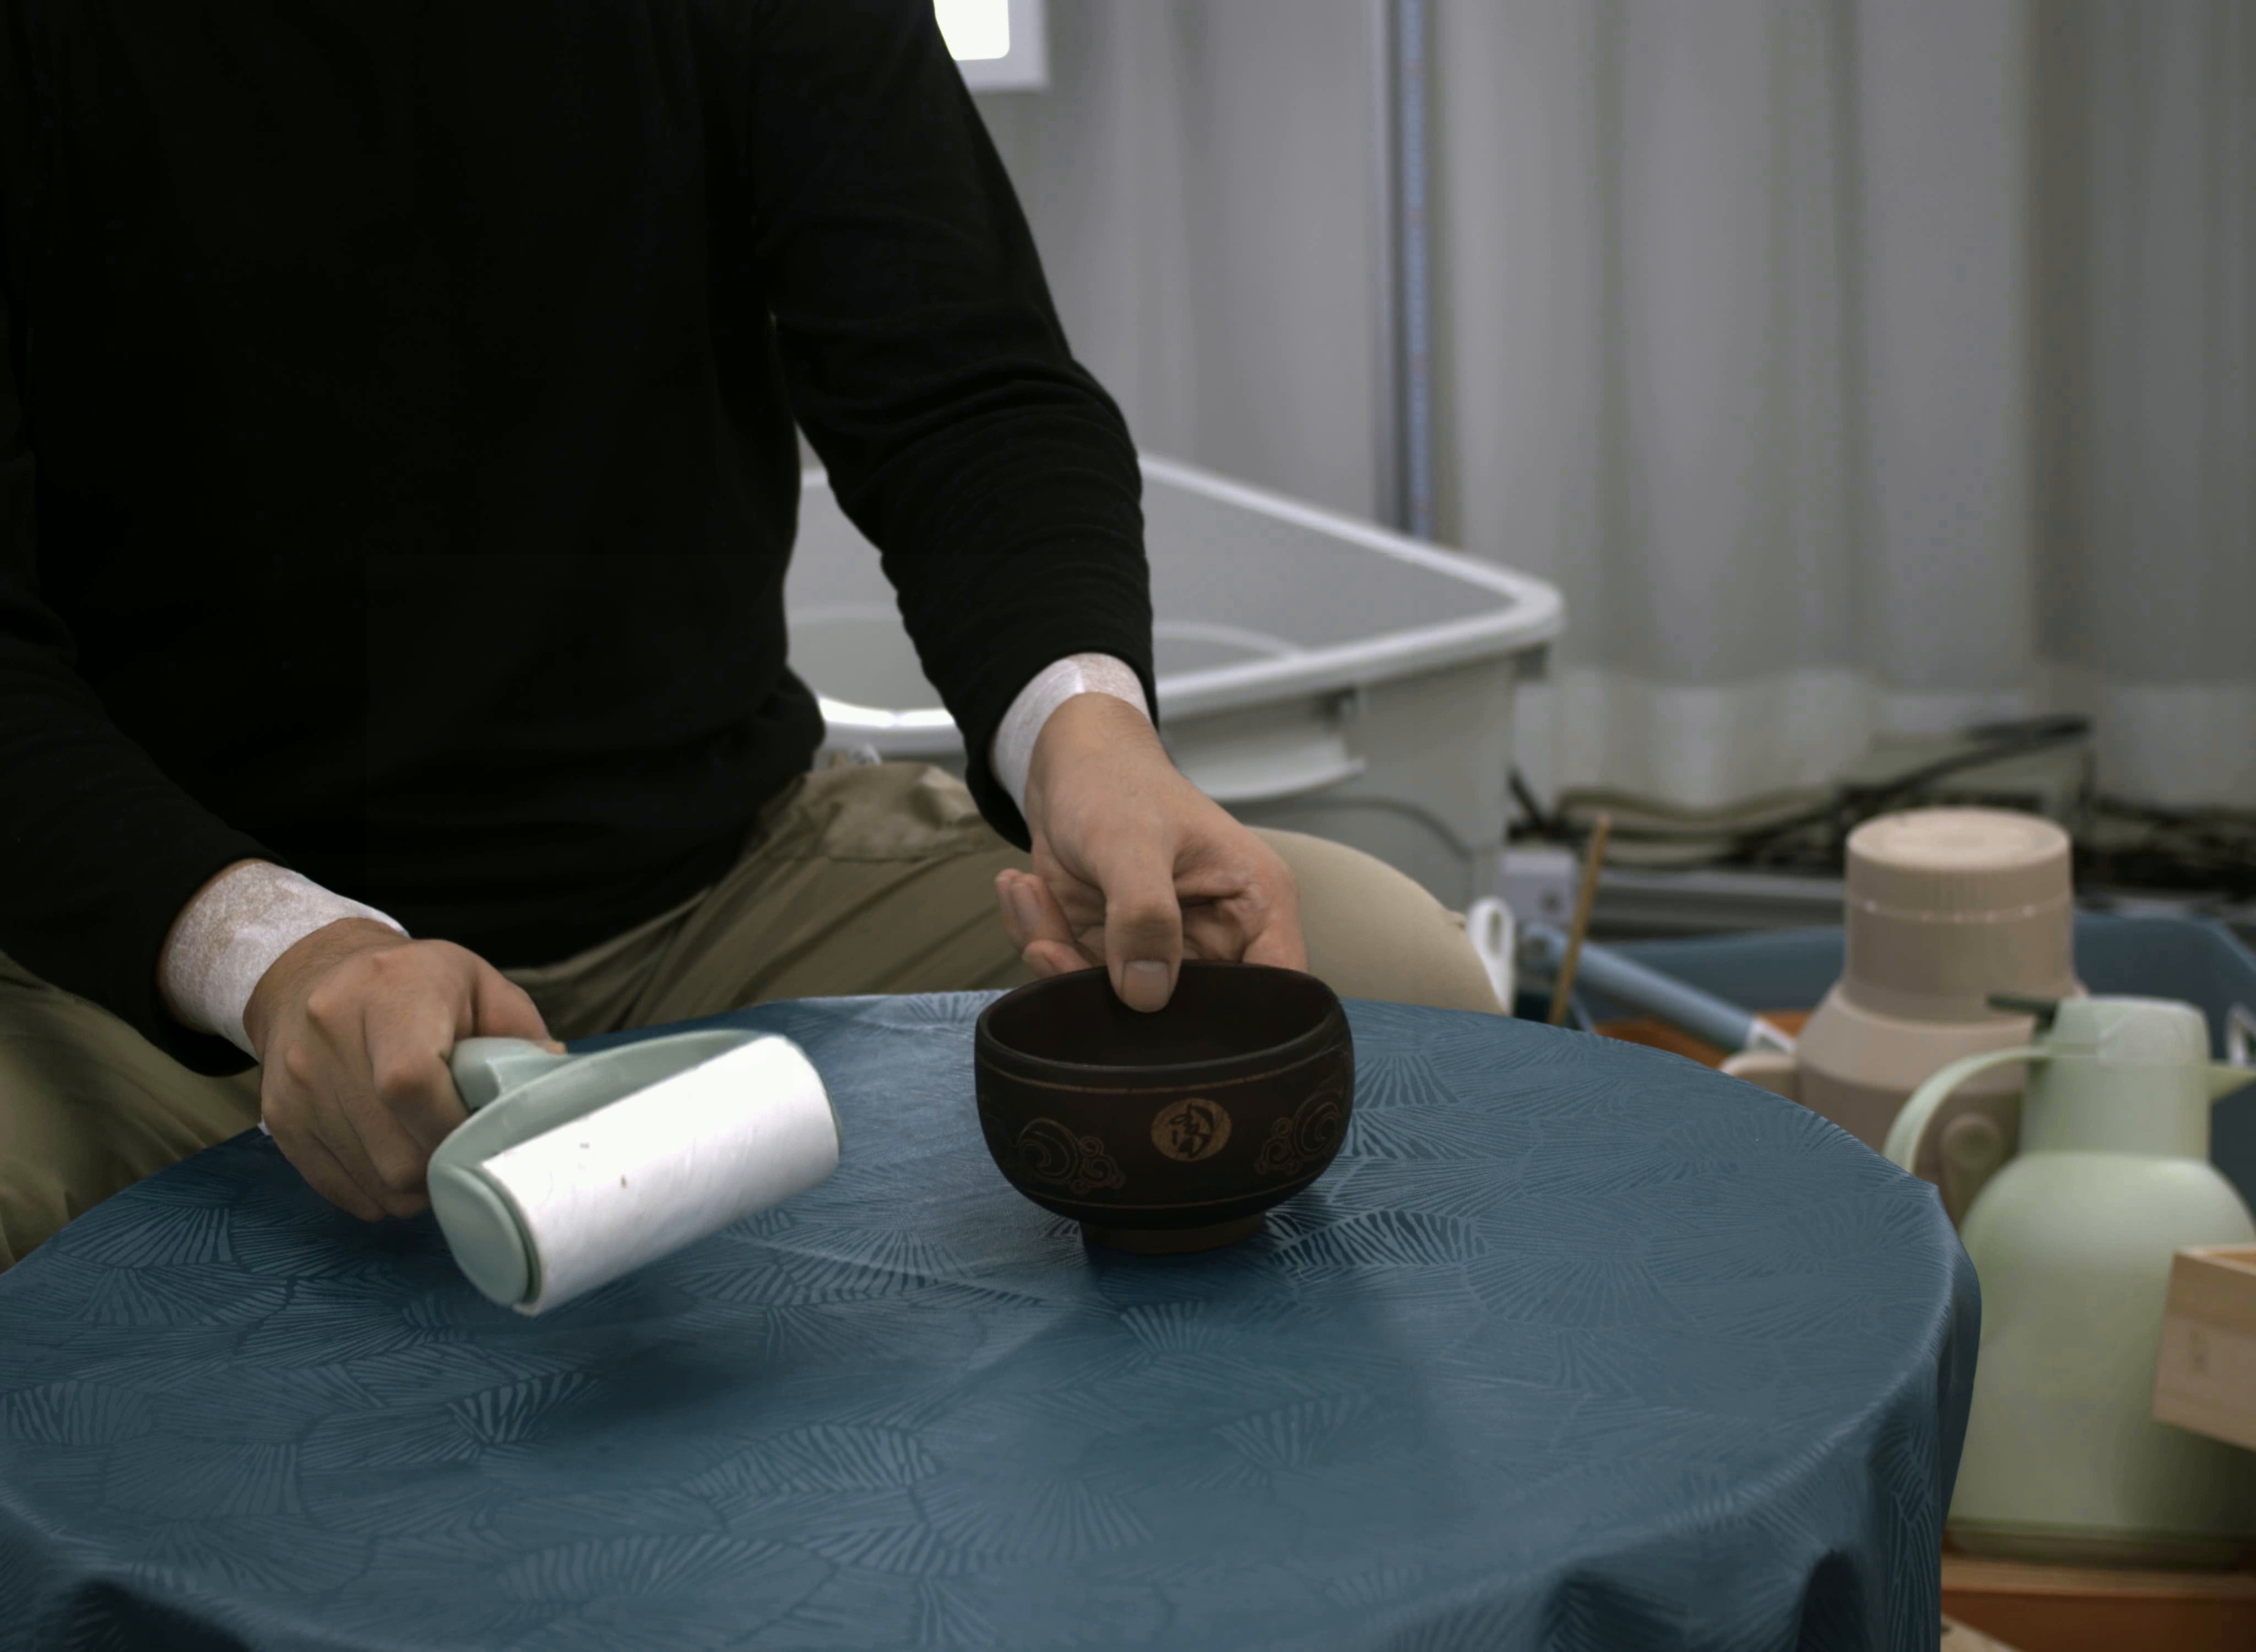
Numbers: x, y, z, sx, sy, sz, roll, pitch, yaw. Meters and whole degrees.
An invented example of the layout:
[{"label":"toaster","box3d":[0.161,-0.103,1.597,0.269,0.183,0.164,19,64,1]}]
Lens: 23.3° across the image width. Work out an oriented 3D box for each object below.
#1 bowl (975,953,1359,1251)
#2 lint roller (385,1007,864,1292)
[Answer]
[{"label":"bowl","box3d":[0.013,0.088,1.672,0.117,0.069,0.119,-4,14,1]},{"label":"lint roller","box3d":[-0.171,0.084,1.633,0.116,0.048,0.199,-25,20,-29]}]
